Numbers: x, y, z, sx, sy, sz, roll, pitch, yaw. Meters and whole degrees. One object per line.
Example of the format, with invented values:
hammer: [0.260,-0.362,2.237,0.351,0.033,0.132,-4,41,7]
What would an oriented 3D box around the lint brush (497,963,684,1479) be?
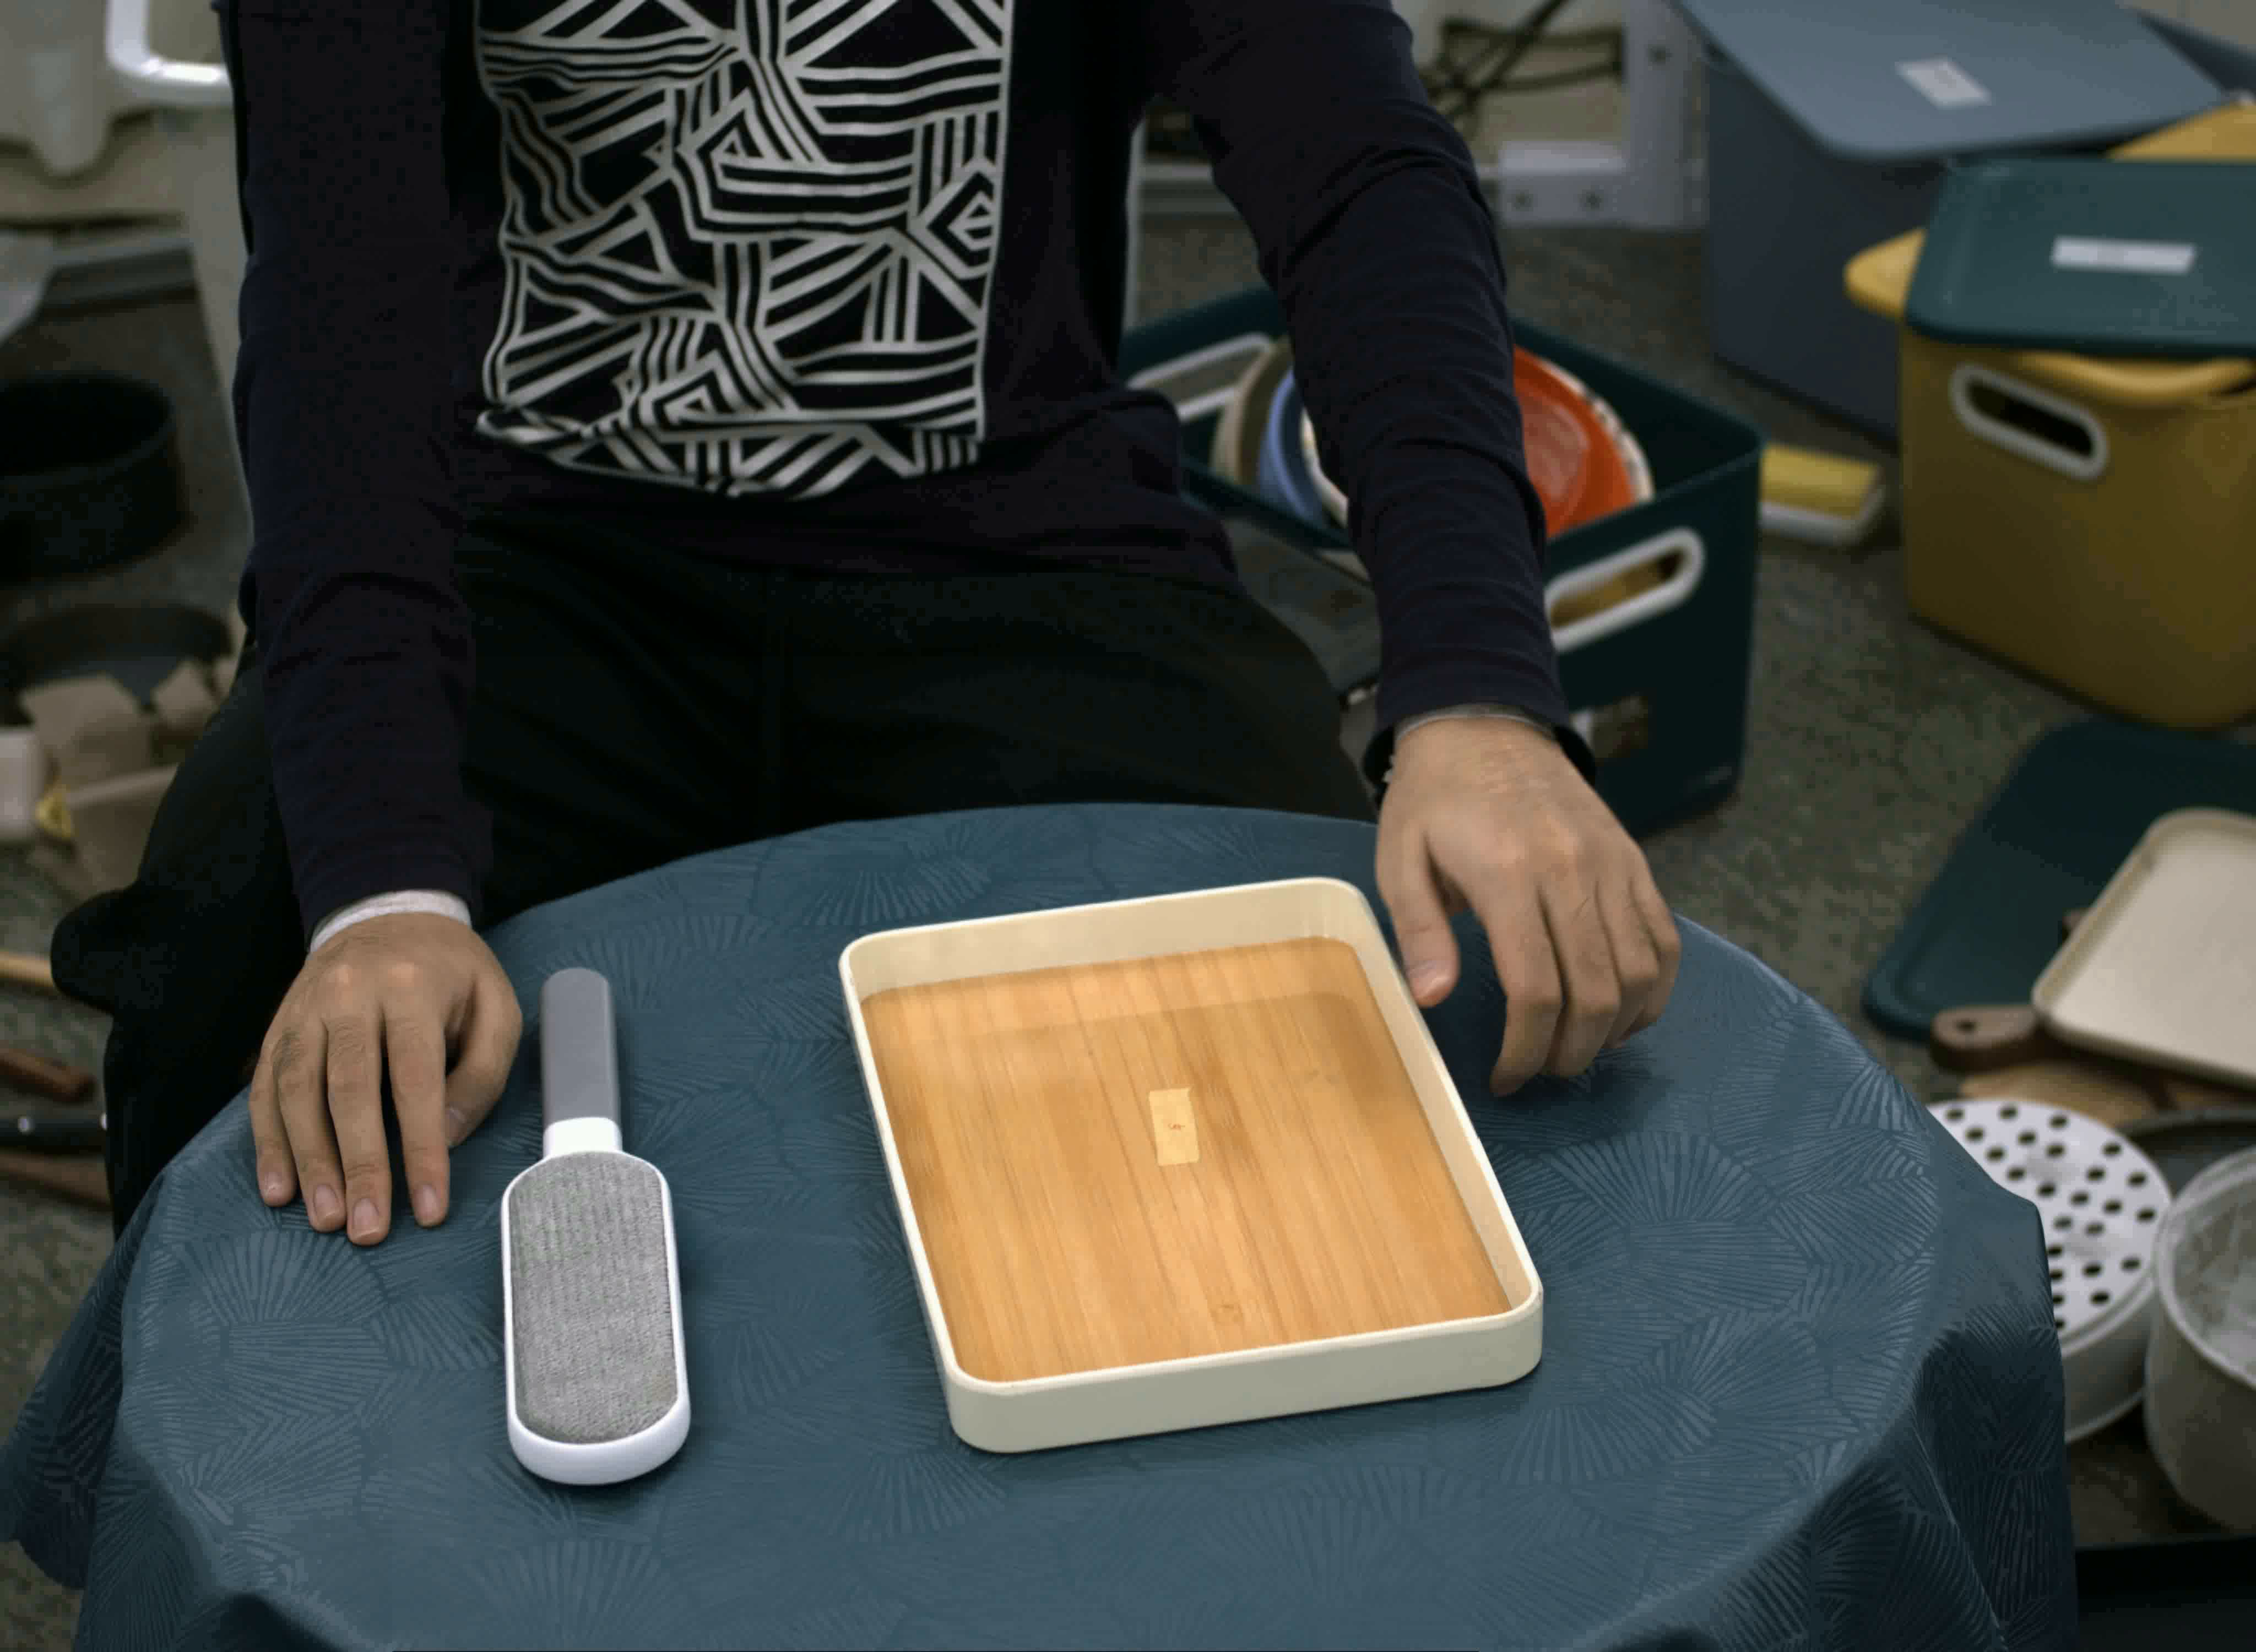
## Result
lint brush: [-0.177,0.124,1.845,0.060,0.021,0.313,-10,27,-2]

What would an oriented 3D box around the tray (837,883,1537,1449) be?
tray: [0.013,0.107,1.861,0.191,0.027,0.304,-6,27,-7]
